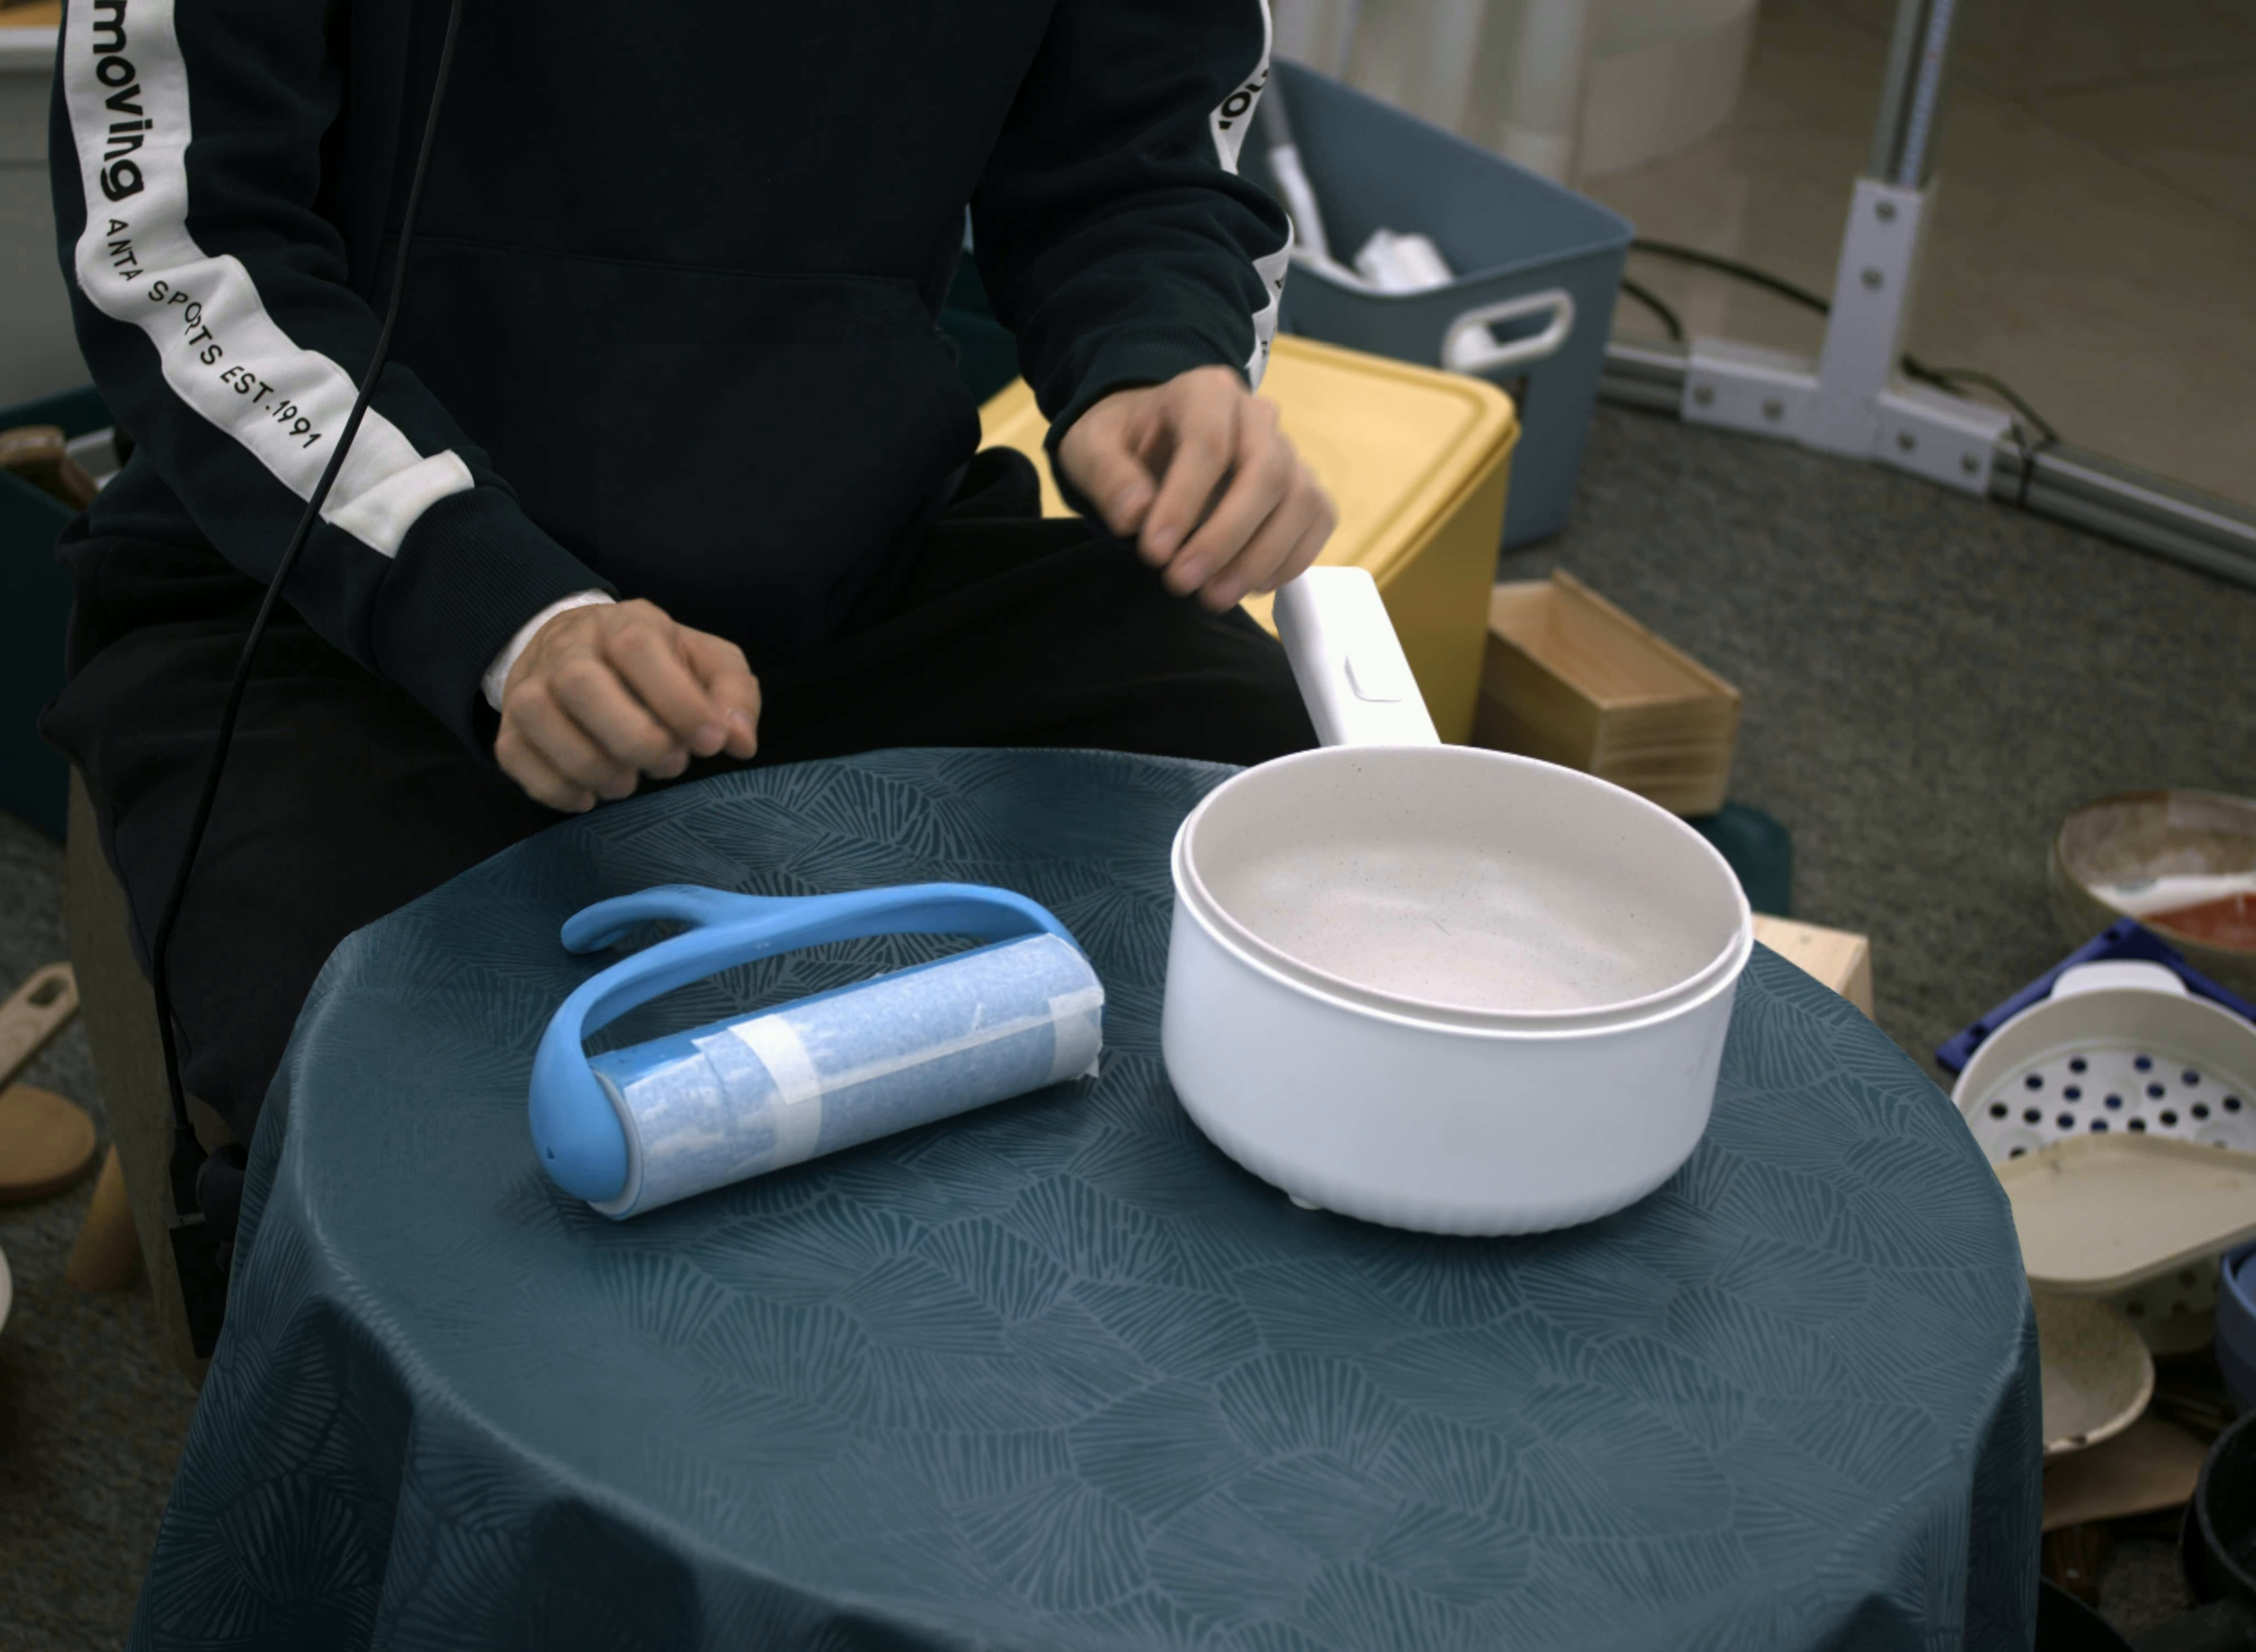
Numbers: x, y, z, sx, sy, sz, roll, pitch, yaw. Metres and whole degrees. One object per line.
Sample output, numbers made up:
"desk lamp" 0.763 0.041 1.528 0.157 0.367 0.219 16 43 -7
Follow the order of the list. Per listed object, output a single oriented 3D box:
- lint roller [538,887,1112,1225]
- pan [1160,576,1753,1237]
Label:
"lint roller" -0.137 0.058 1.835 0.228 0.067 0.182 -19 37 -38
"pan" 0.099 0.026 1.905 0.200 0.102 0.357 1 26 -10
